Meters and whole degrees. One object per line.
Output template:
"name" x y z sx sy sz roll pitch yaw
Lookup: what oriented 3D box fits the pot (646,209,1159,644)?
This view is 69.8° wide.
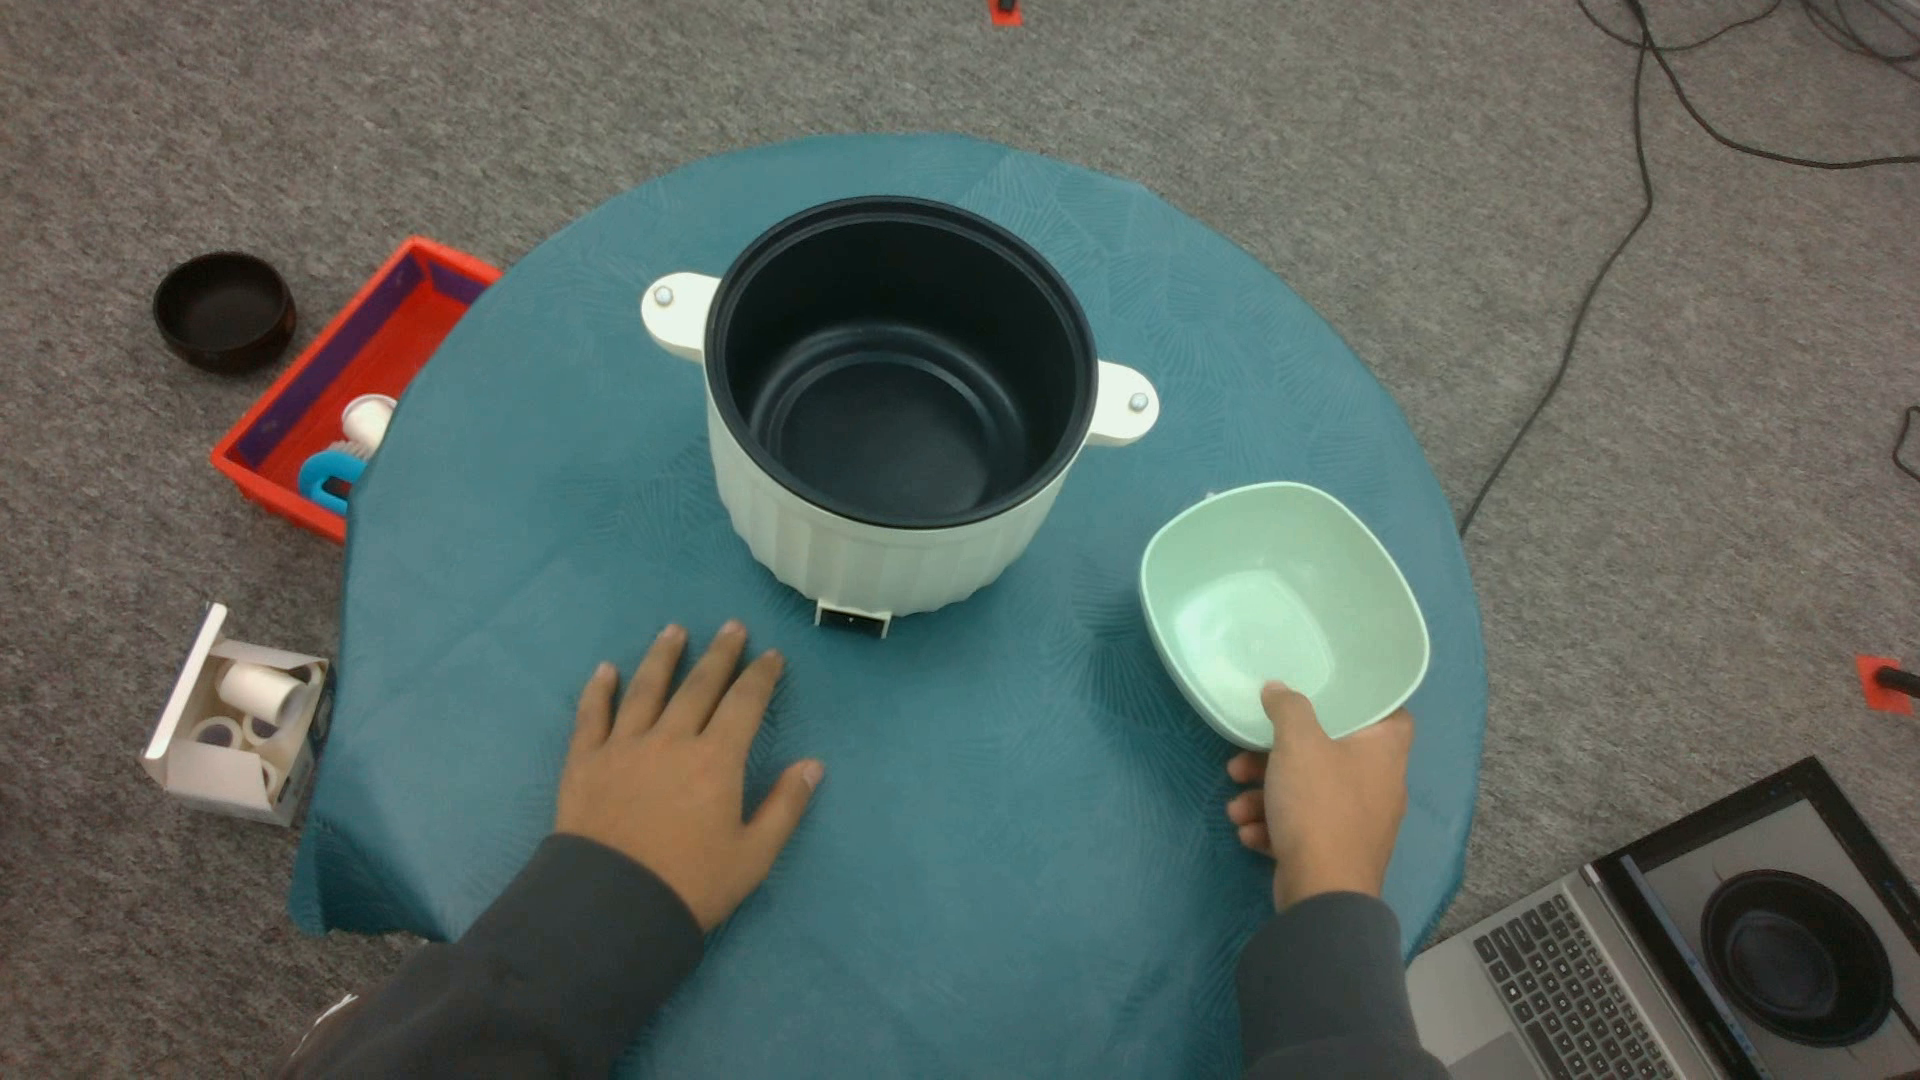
"pot" -0.033 -0.058 0.697 0.240 0.142 0.191 8 65 -6

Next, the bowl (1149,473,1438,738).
"bowl" 0.167 0.041 0.722 0.151 0.058 0.152 3 61 -6
